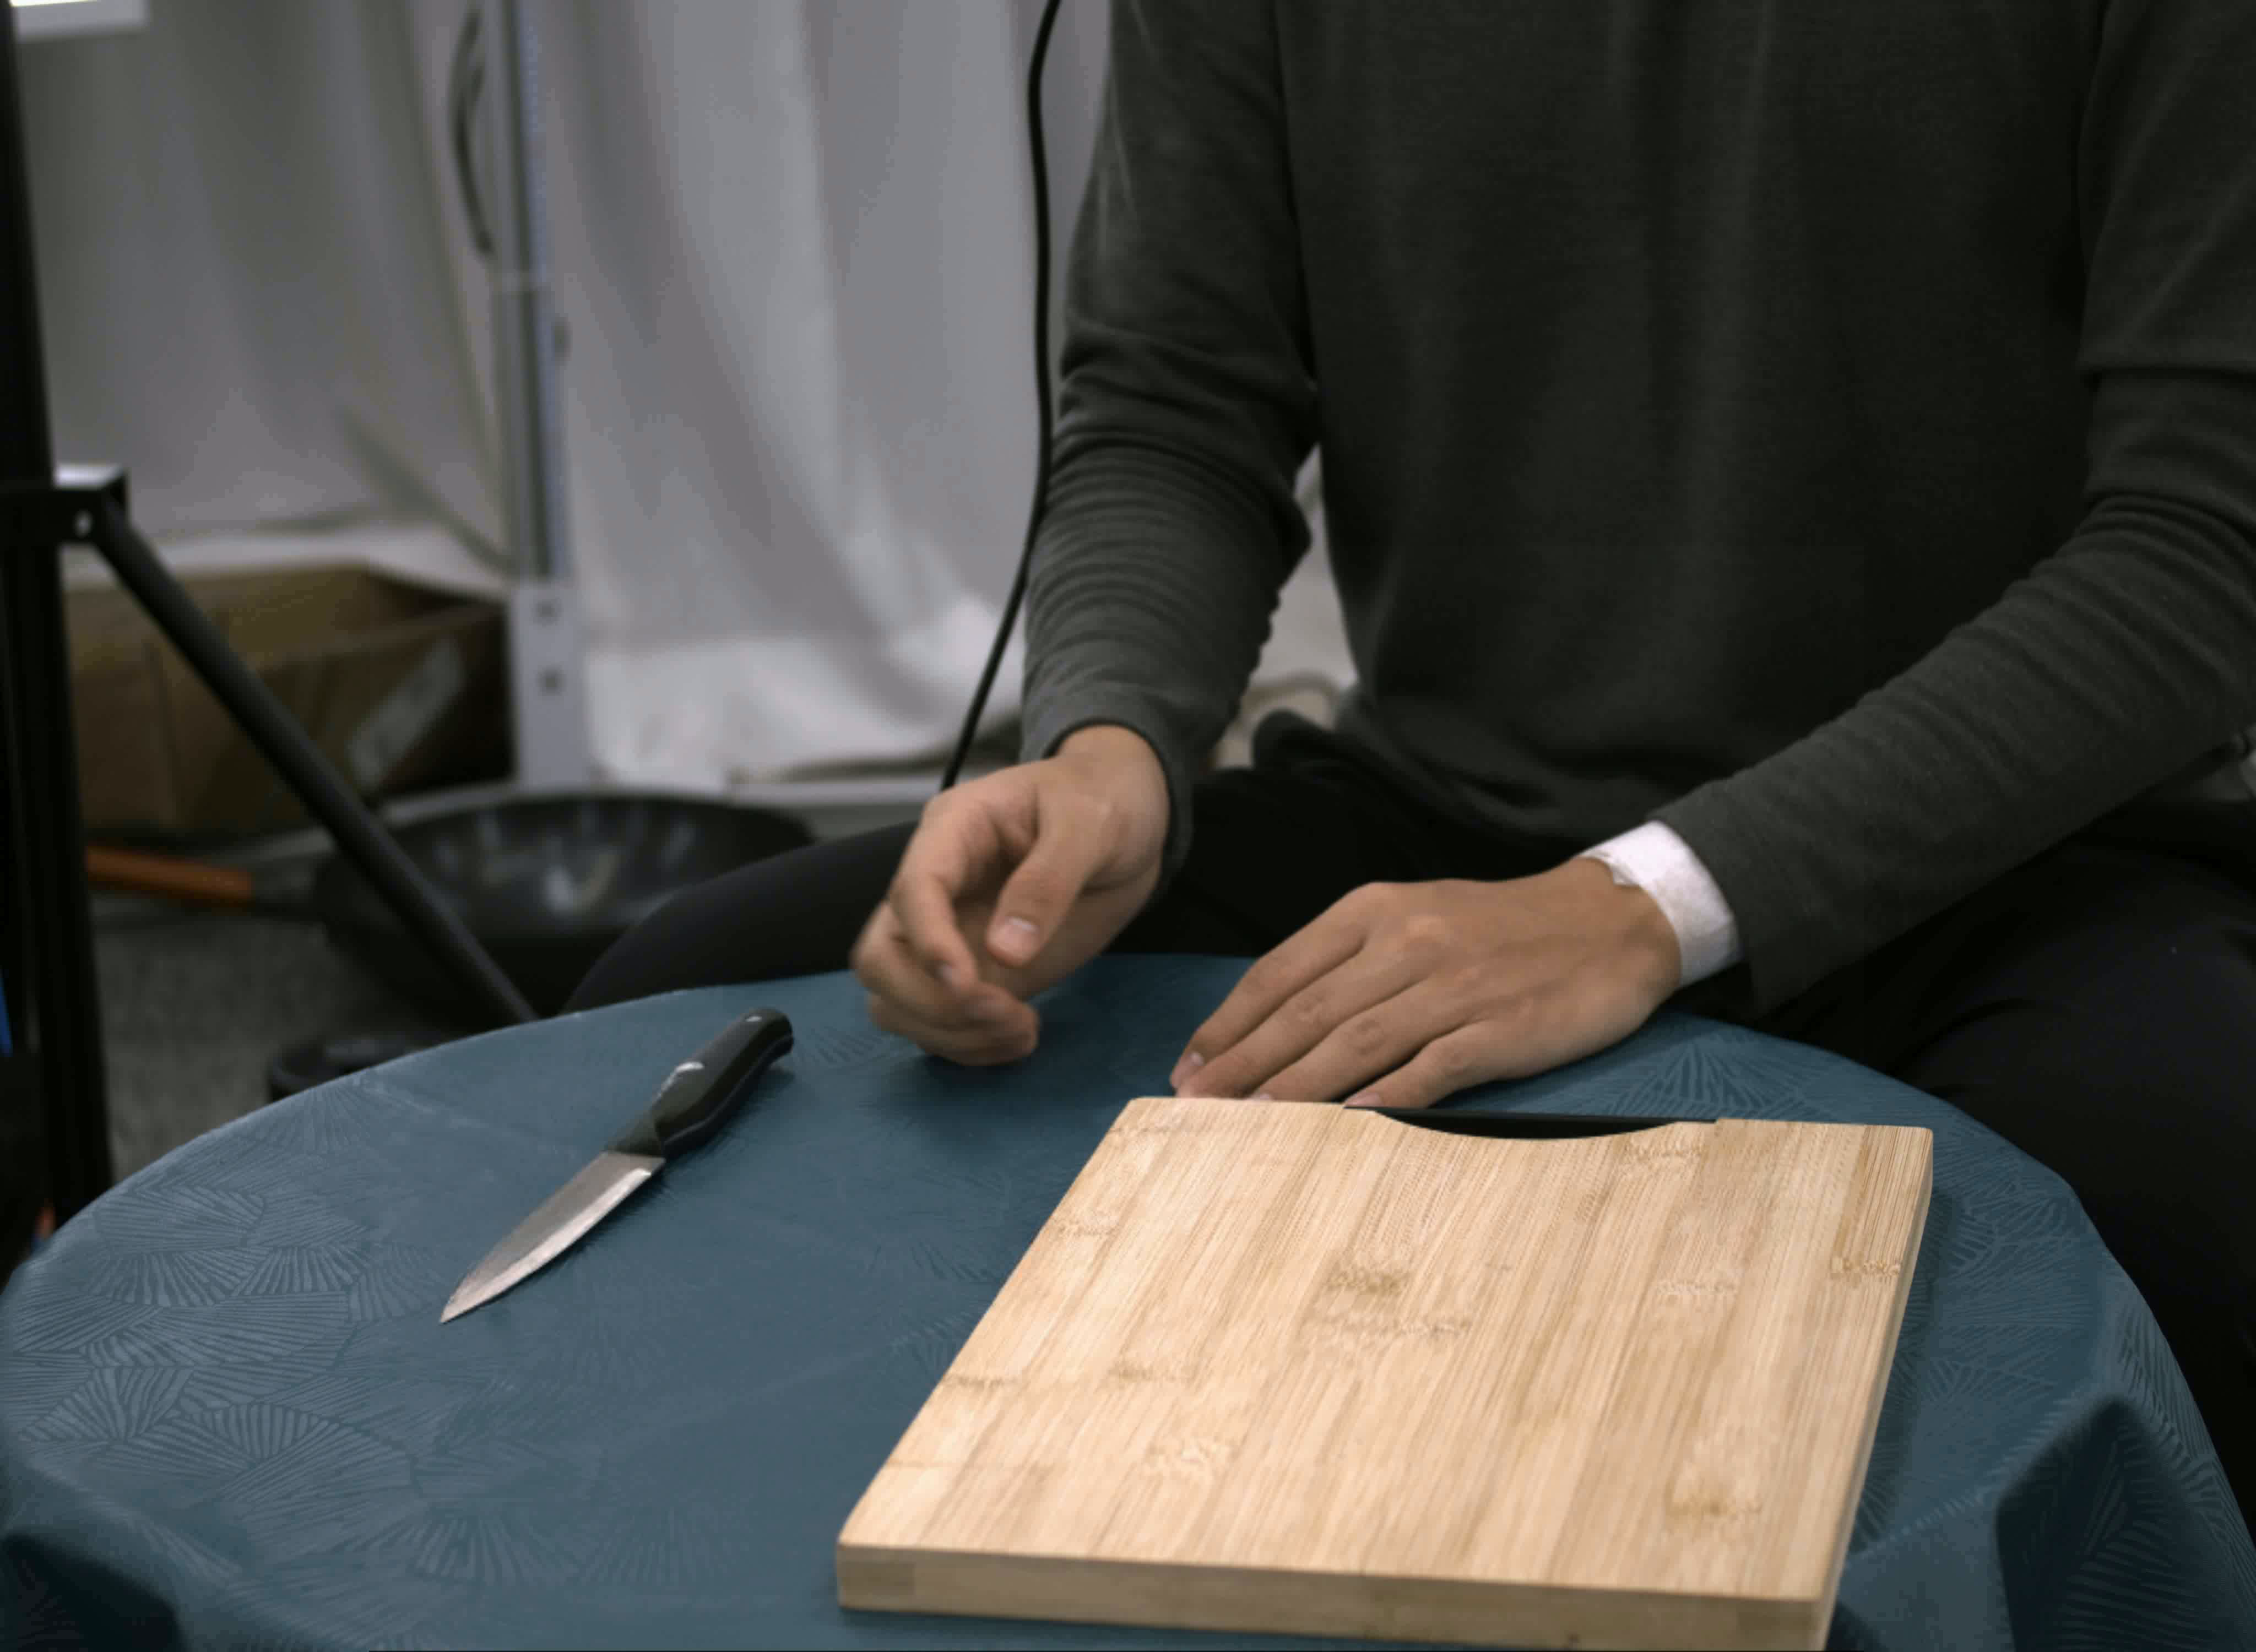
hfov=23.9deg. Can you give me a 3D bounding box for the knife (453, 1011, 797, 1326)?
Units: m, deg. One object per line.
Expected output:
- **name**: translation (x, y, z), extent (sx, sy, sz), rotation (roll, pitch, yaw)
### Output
- **knife**: translation (-0.151, 0.102, 1.588), extent (0.025, 0.016, 0.236), rotation (-3, 17, 21)

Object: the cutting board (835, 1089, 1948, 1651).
- **cutting board**: translation (0.084, 0.139, 1.412), extent (0.252, 0.023, 0.346), rotation (2, 16, 12)
